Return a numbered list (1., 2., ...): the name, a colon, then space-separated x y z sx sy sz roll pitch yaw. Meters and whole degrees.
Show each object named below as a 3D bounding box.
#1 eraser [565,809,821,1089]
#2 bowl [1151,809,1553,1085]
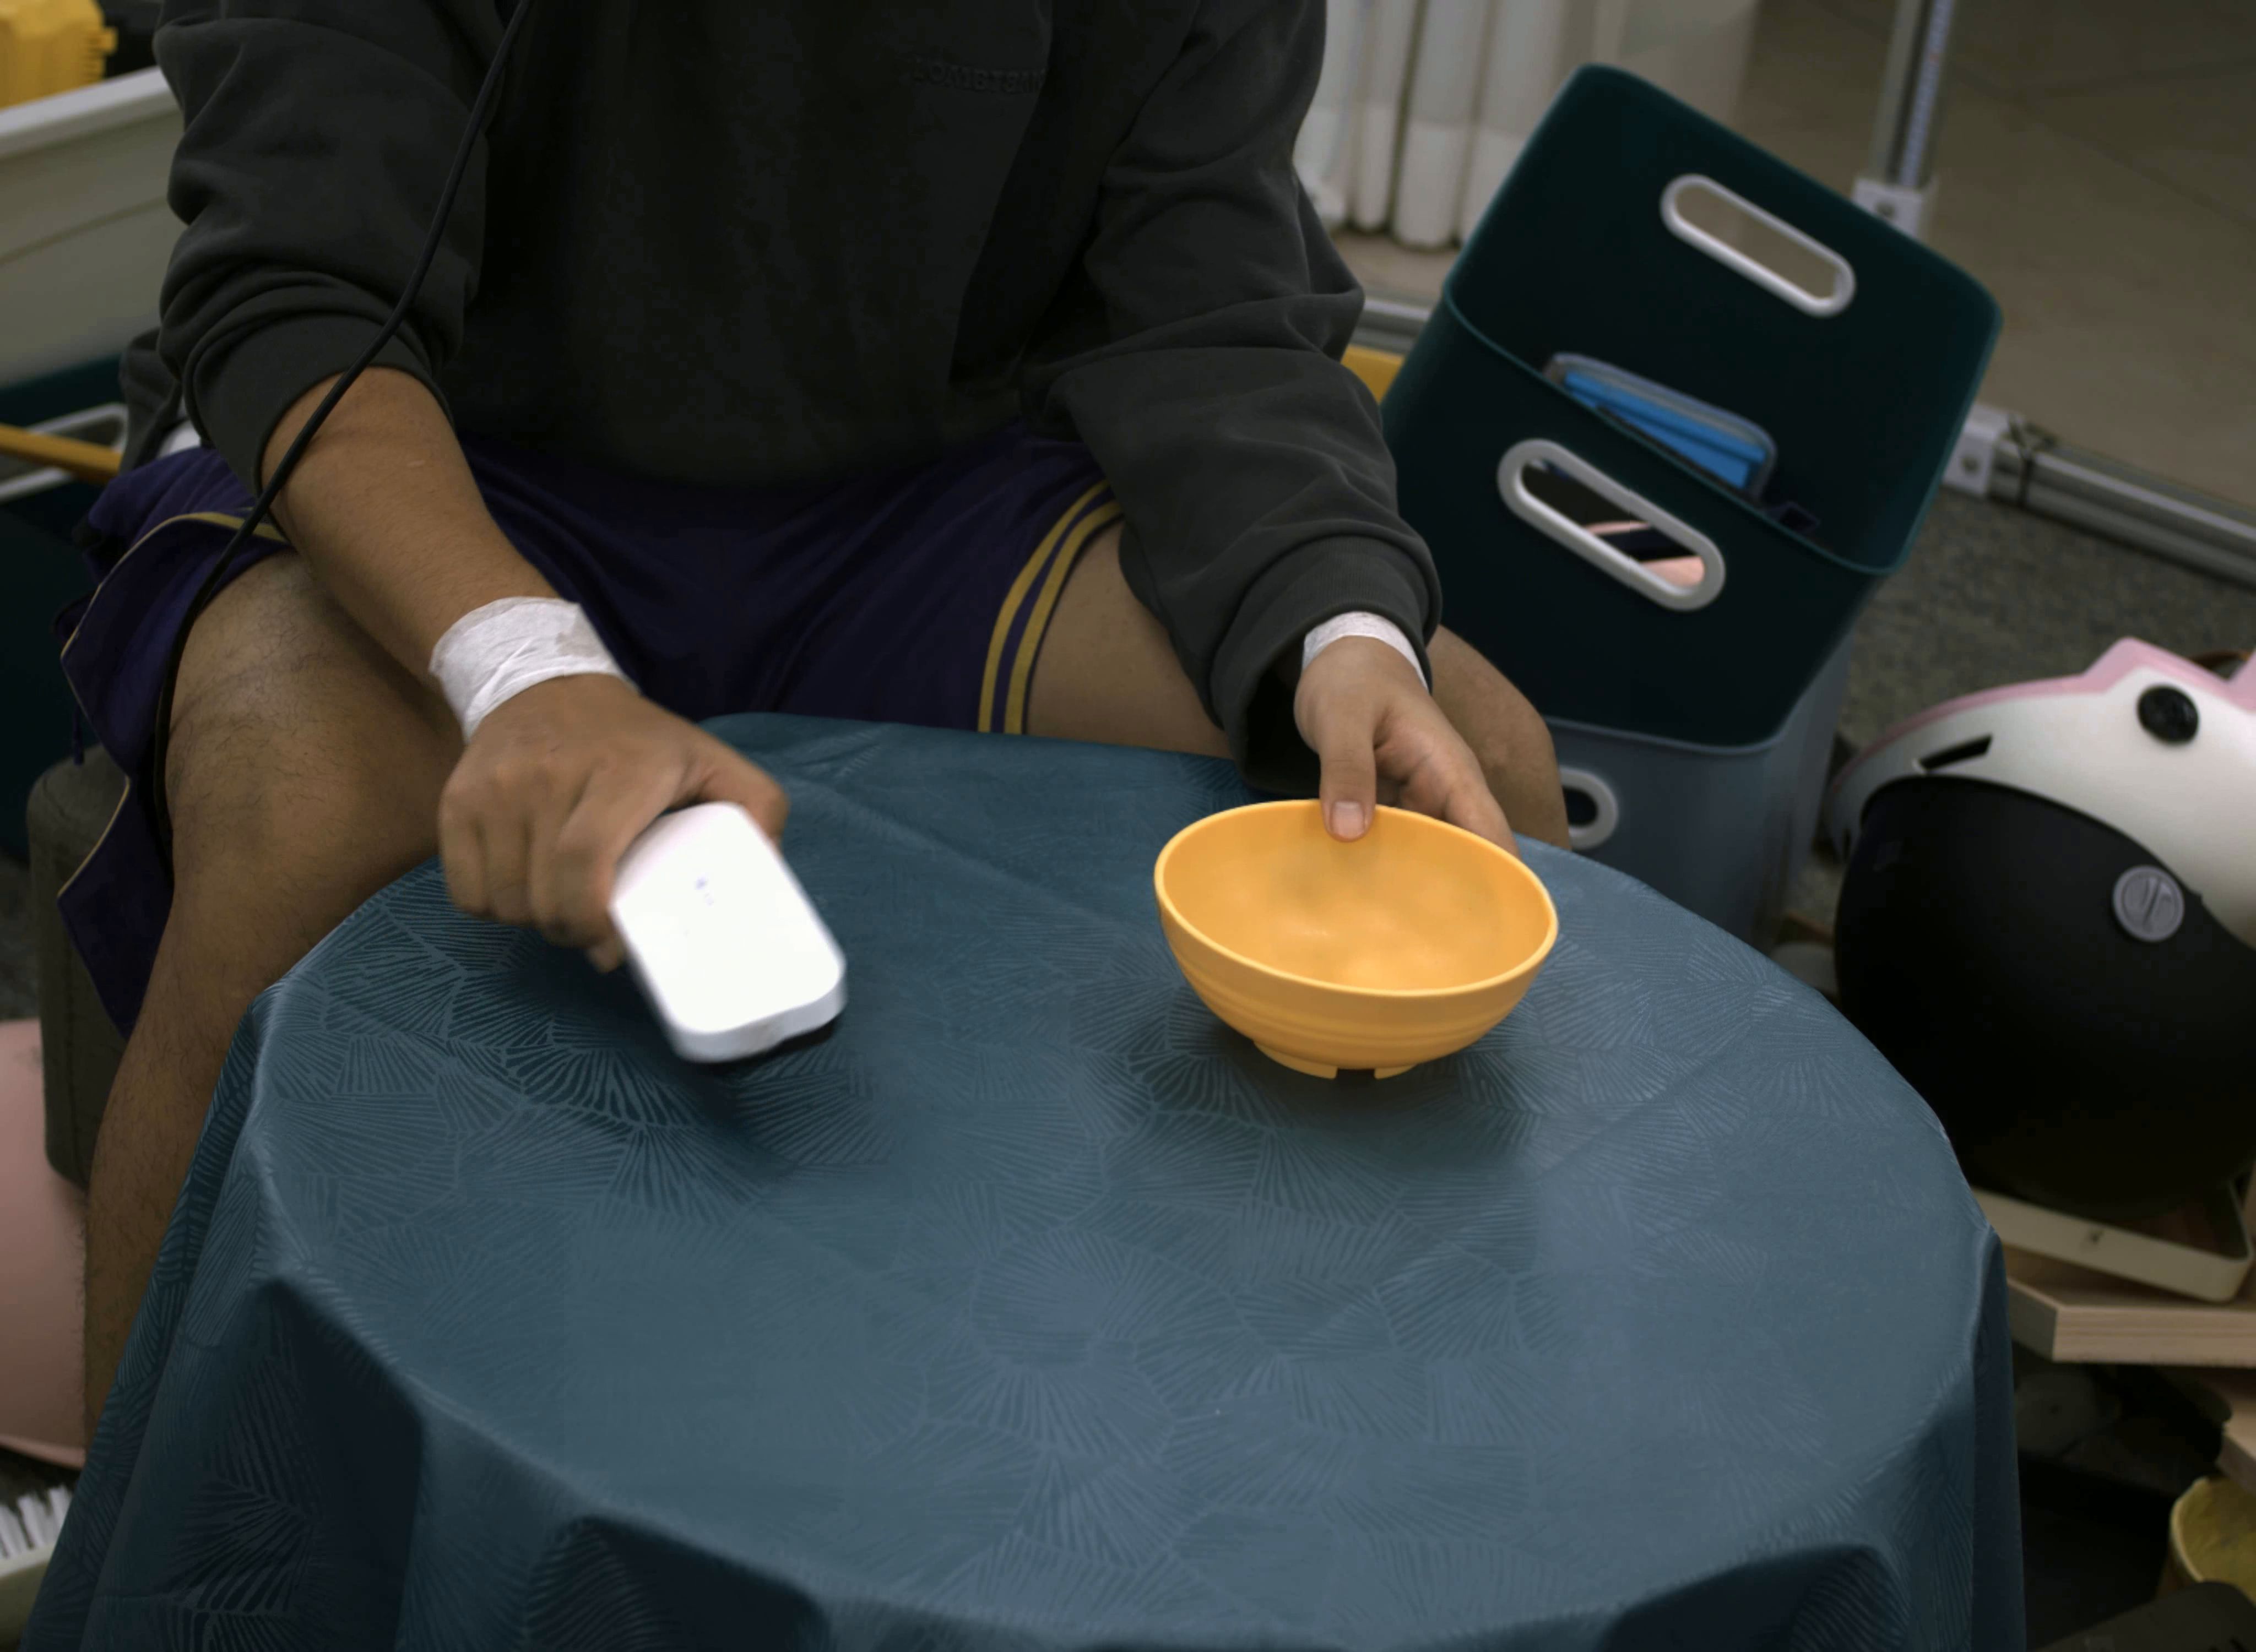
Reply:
1. eraser: -0.149 0.039 1.831 0.063 0.034 0.132 -16 37 -13
2. bowl: 0.076 0.051 1.901 0.145 0.060 0.146 5 25 -3
